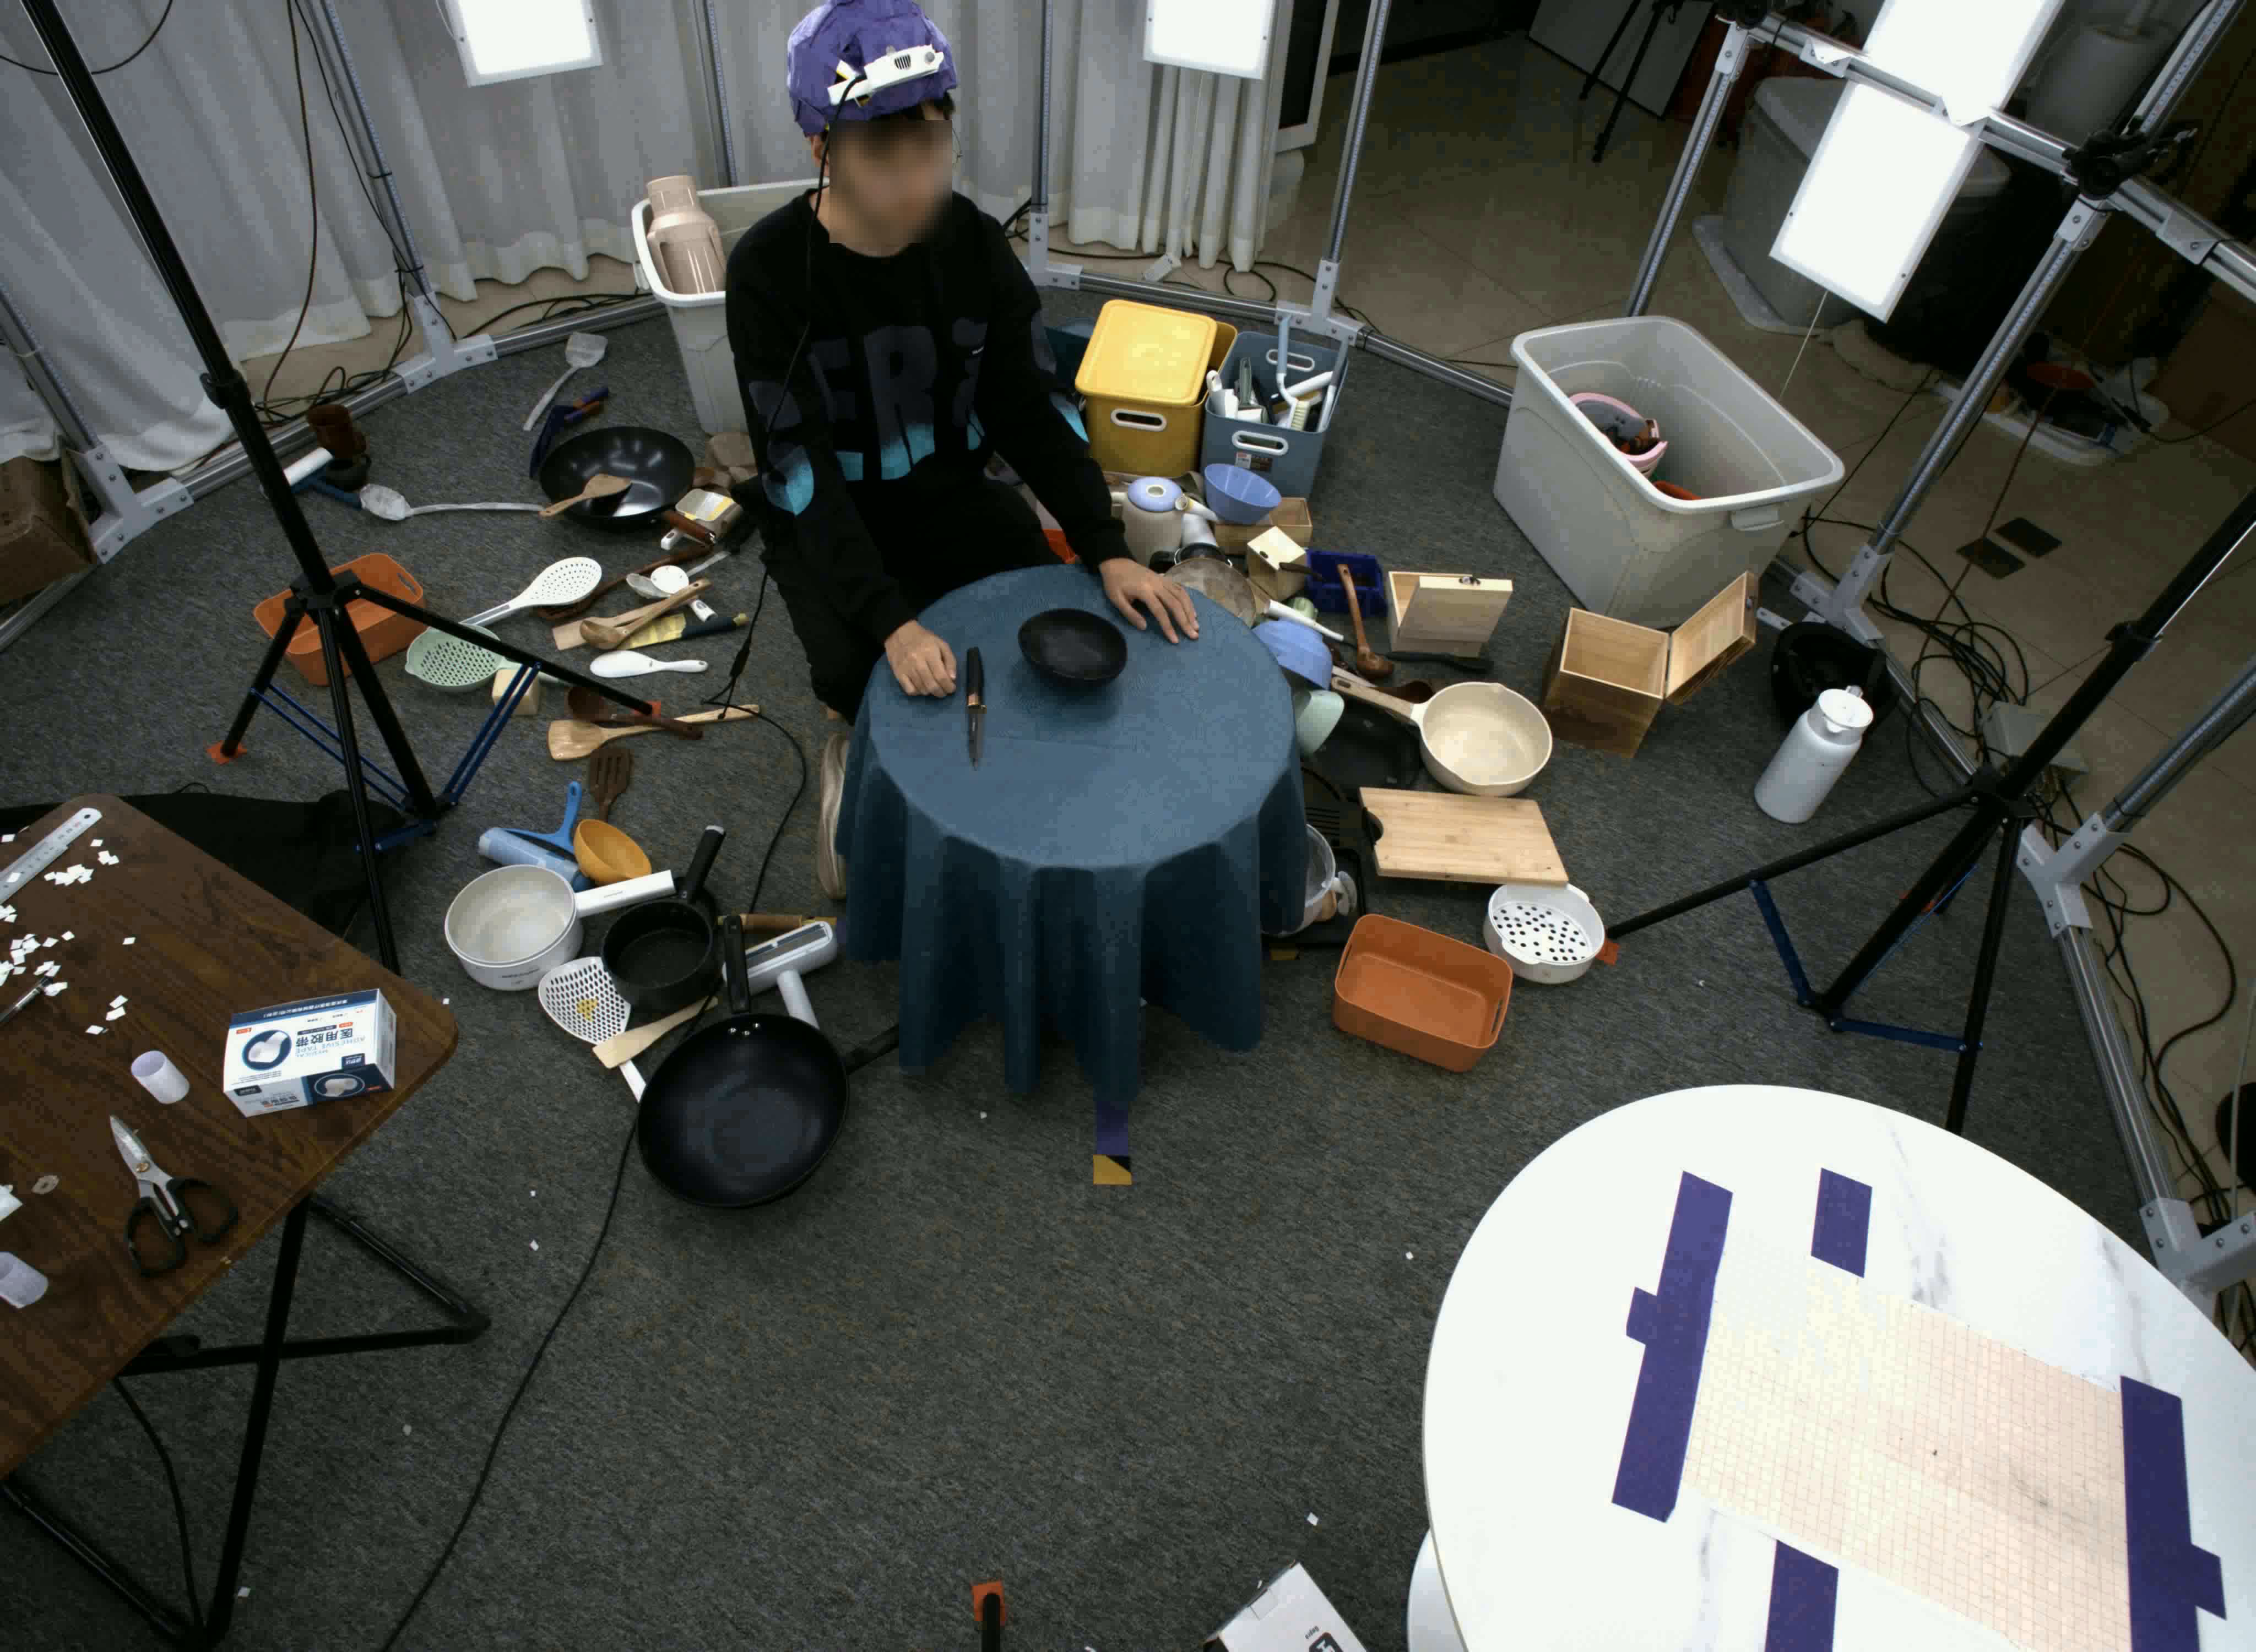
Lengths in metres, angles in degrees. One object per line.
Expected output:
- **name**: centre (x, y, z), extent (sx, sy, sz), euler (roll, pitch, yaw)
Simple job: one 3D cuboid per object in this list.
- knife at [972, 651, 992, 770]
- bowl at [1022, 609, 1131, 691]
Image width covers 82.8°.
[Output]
- **knife**: centre (-0.203, -0.164, 1.789), extent (0.026, 0.017, 0.231), euler (-5, 50, -3)
- **bowl**: centre (-0.075, -0.240, 1.831), extent (0.172, 0.065, 0.139), euler (31, 54, 24)
